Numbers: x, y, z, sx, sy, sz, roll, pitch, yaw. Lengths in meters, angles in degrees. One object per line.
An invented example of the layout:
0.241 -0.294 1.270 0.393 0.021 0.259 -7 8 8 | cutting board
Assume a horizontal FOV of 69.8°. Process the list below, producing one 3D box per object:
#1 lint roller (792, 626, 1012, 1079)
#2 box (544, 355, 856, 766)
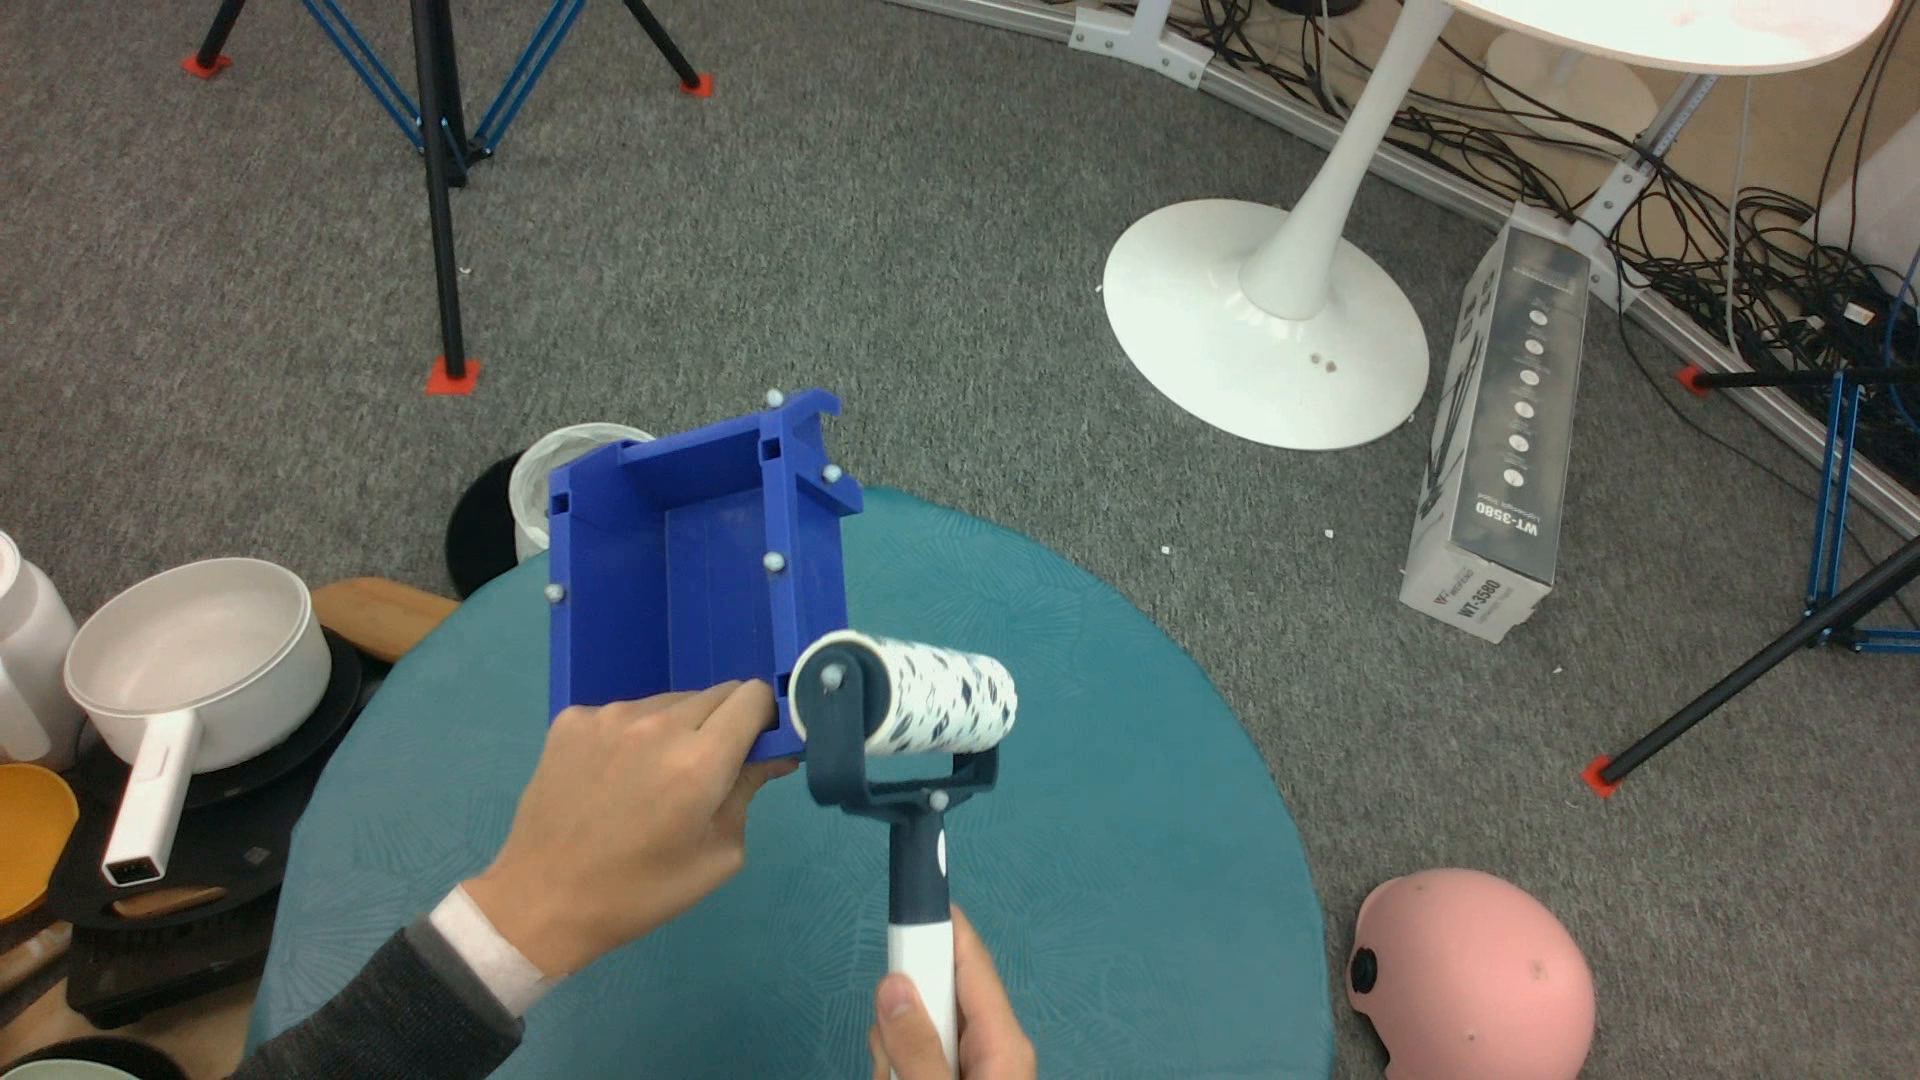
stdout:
-0.014 0.165 0.586 0.050 0.176 0.247 -7 80 17 | lint roller
-0.117 0.008 0.628 0.124 0.082 0.180 -12 73 18 | box
